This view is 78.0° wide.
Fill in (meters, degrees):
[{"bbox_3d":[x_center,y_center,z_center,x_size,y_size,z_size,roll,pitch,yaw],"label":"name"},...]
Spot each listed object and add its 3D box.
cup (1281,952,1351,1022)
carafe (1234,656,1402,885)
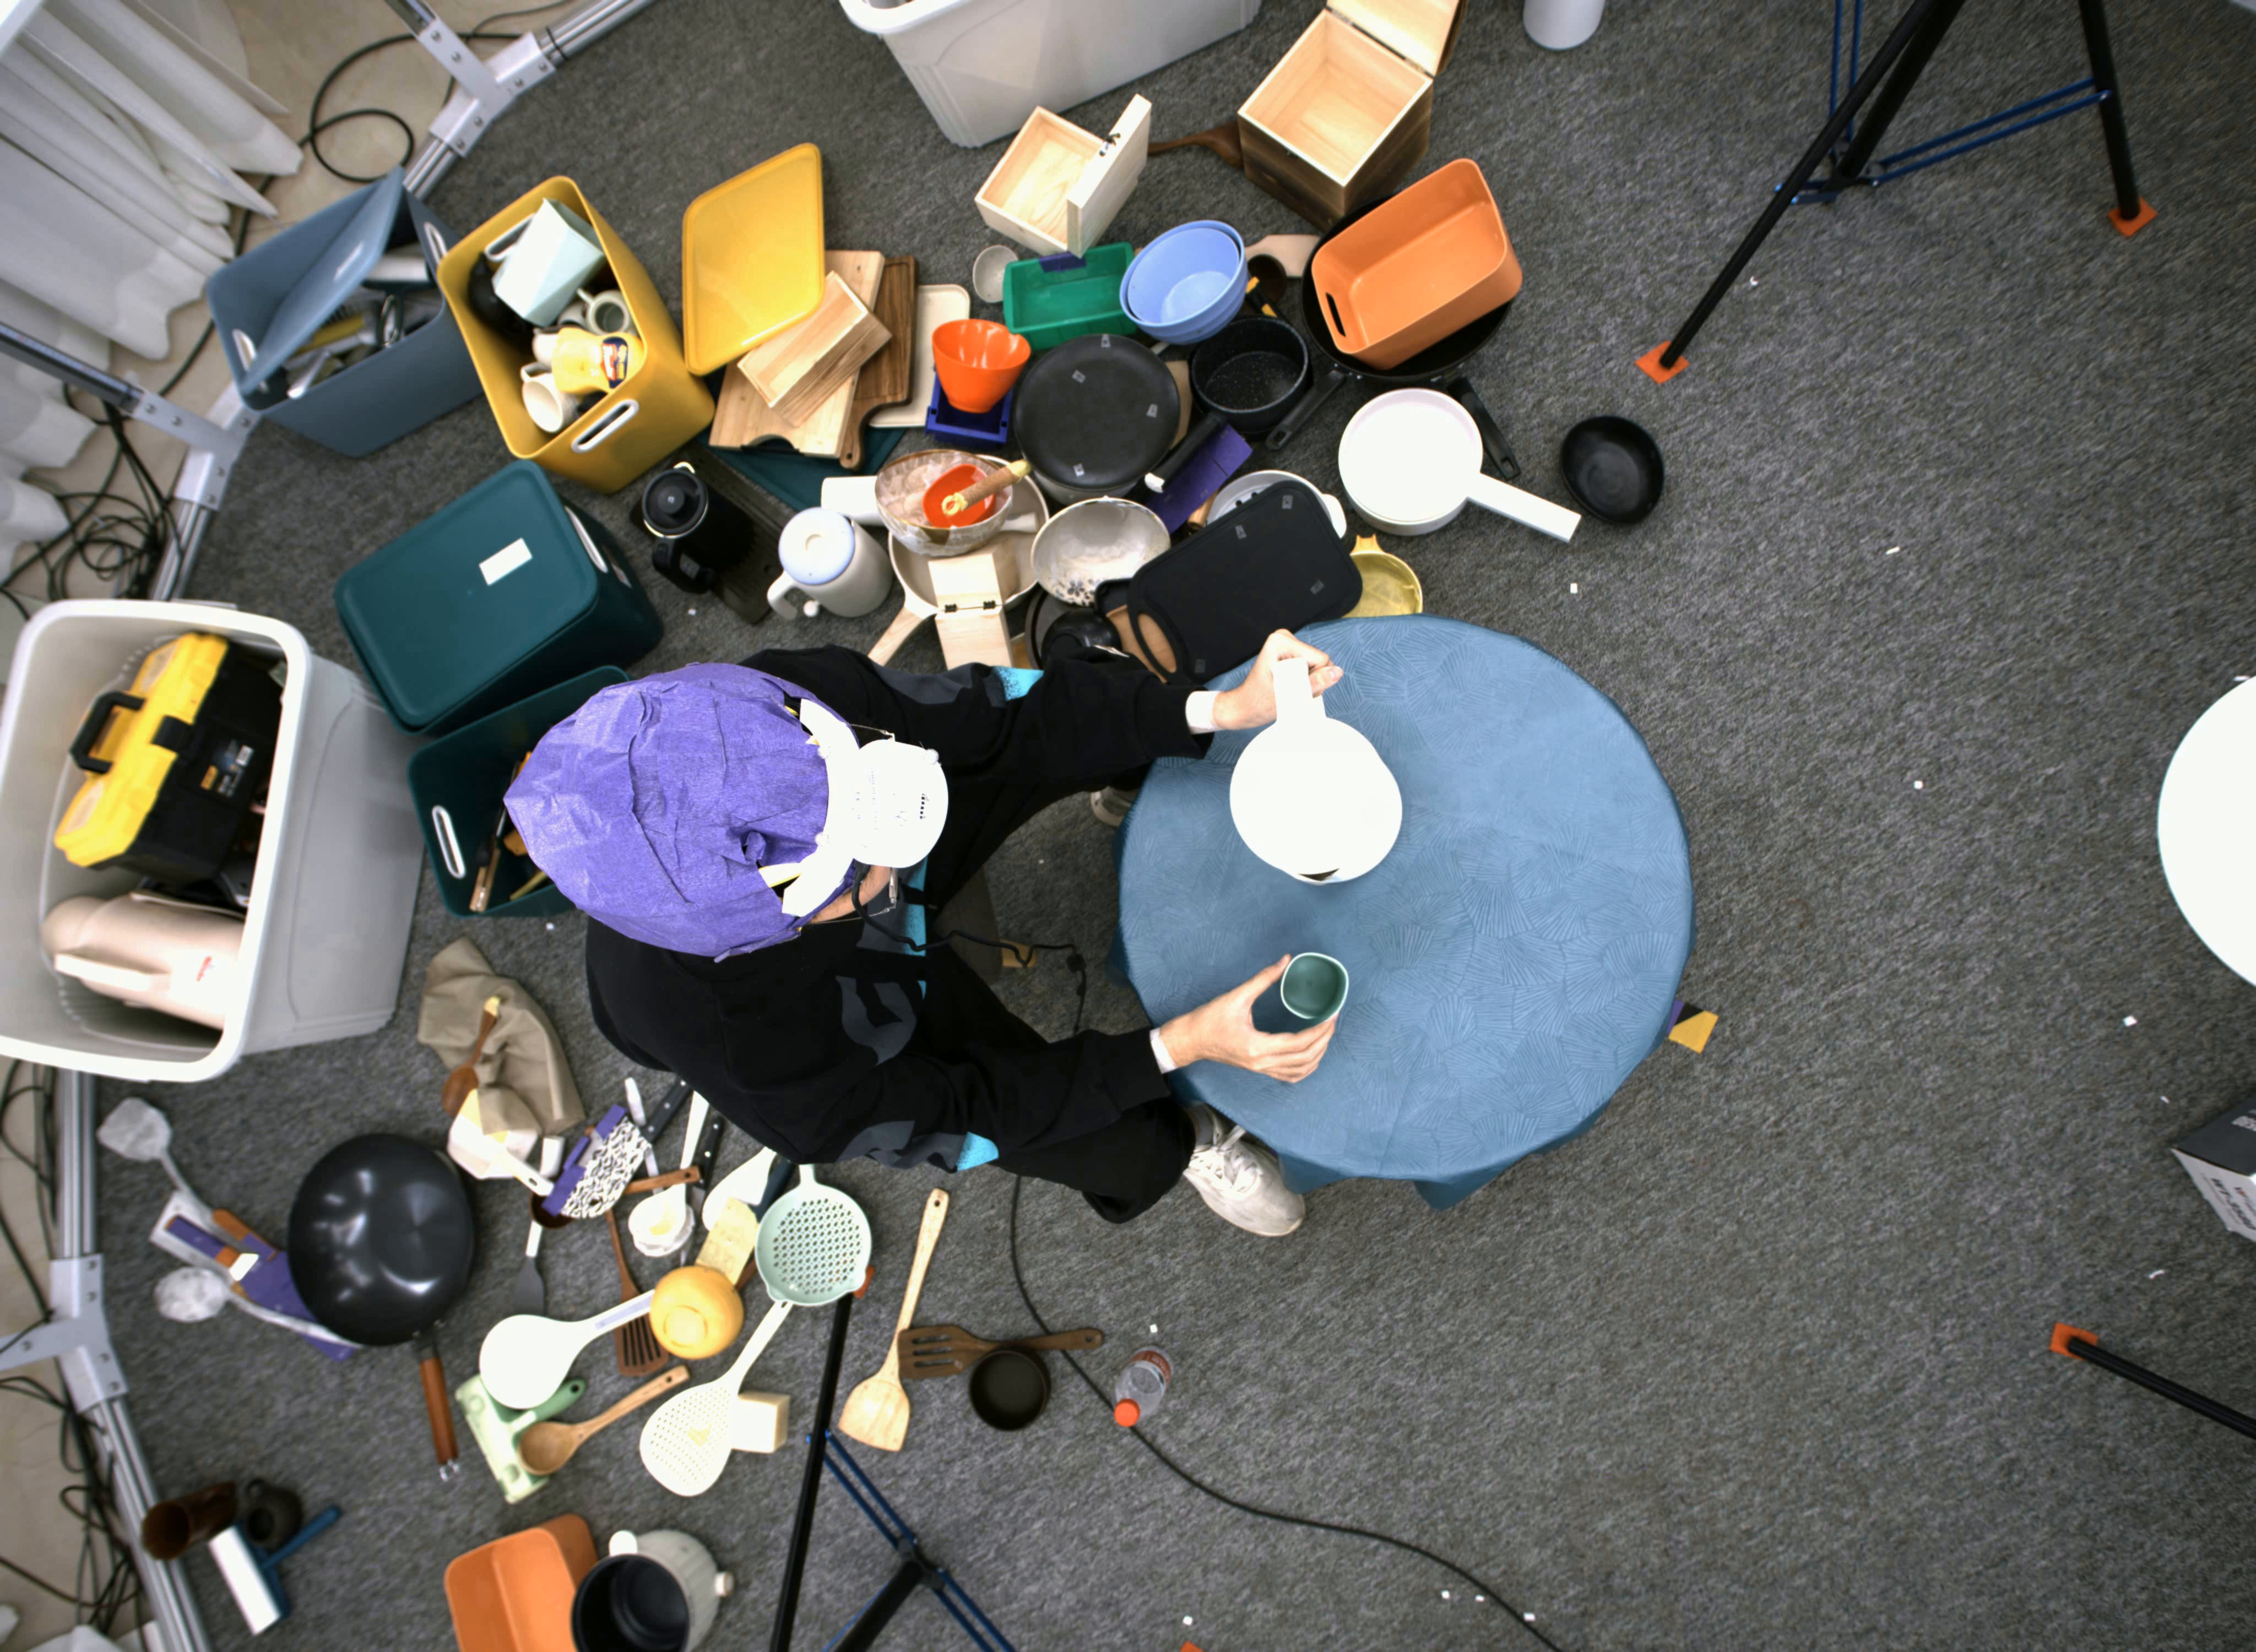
[{"bbox_3d":[0.184,0.158,1.384,0.067,0.132,0.066,0,87,5],"label":"cup"},{"bbox_3d":[0.187,-0.049,1.351,0.153,0.239,0.212,-8,87,11],"label":"carafe"}]
